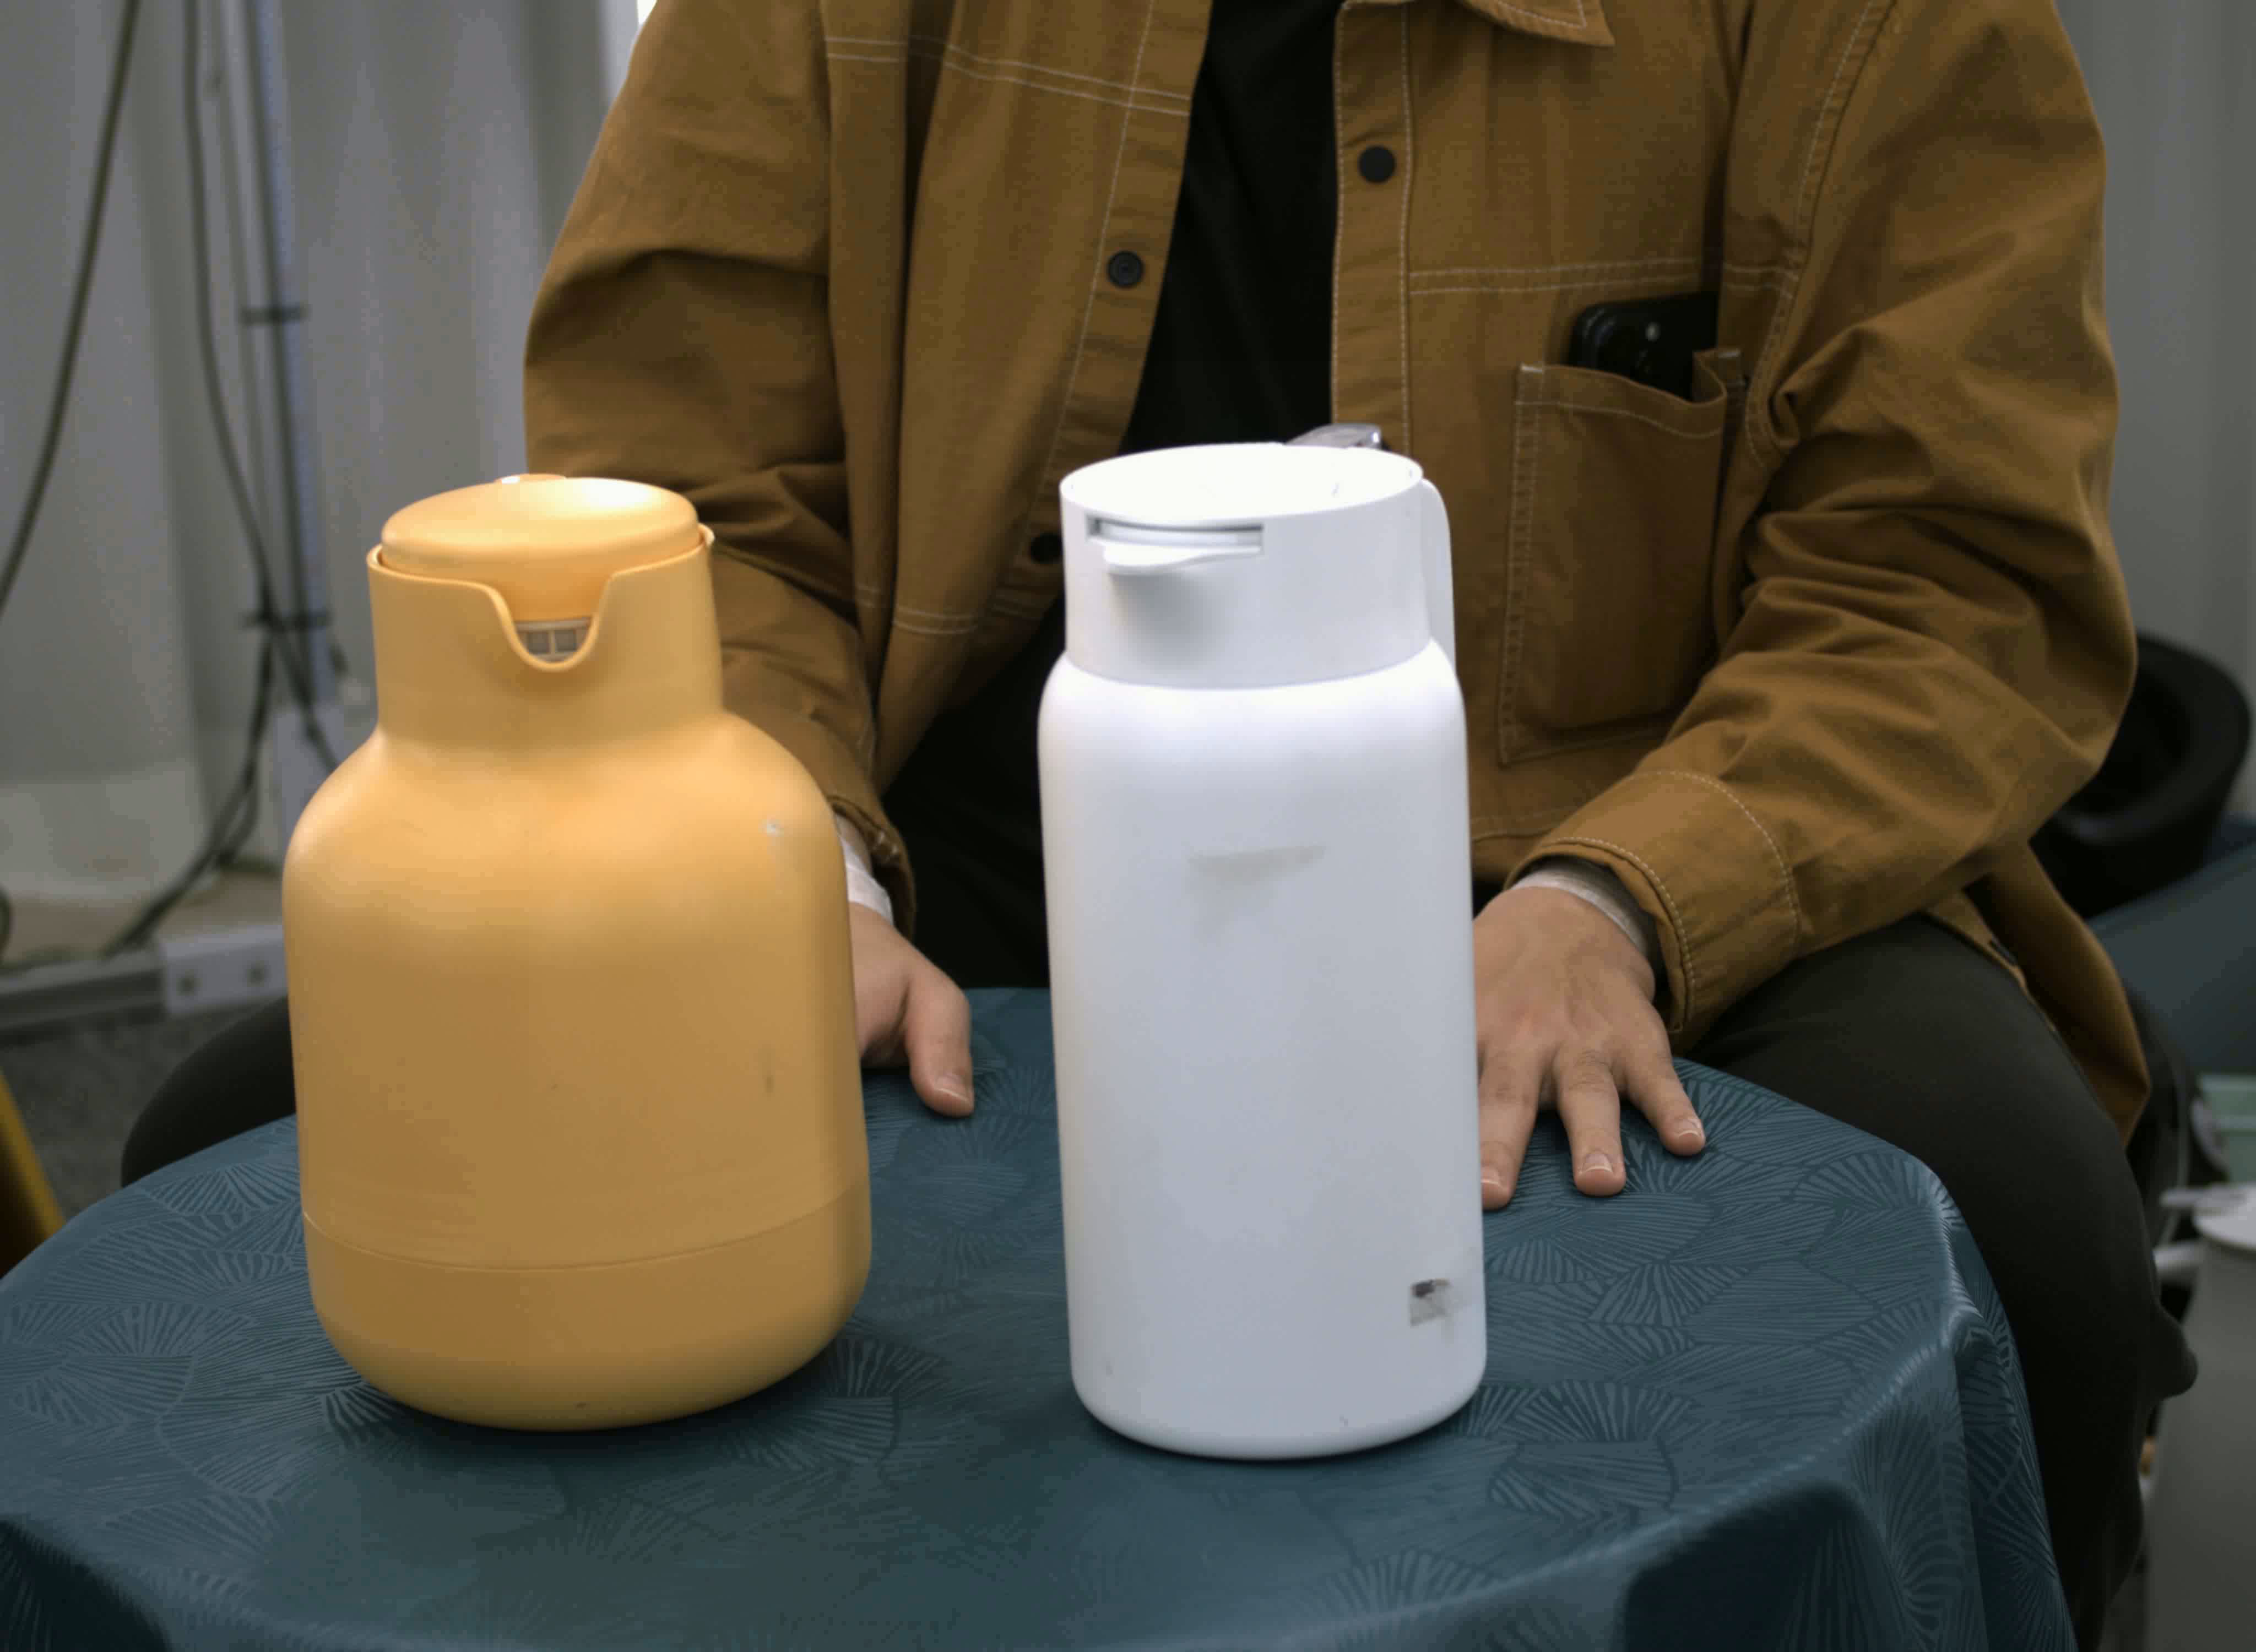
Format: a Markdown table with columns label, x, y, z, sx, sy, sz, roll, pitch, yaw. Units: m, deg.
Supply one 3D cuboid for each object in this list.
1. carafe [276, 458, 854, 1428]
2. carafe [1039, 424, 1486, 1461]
| label | x | y | z | sx | sy | sz | roll | pitch | yaw |
| --- | --- | --- | --- | --- | --- | --- | --- | --- | --- |
| carafe | -0.161 | 0.025 | 1.575 | 0.163 | 0.259 | 0.204 | -1 | 15 | -6 |
| carafe | 0.043 | 0.027 | 1.518 | 0.124 | 0.268 | 0.173 | 2 | 14 | 27 |
